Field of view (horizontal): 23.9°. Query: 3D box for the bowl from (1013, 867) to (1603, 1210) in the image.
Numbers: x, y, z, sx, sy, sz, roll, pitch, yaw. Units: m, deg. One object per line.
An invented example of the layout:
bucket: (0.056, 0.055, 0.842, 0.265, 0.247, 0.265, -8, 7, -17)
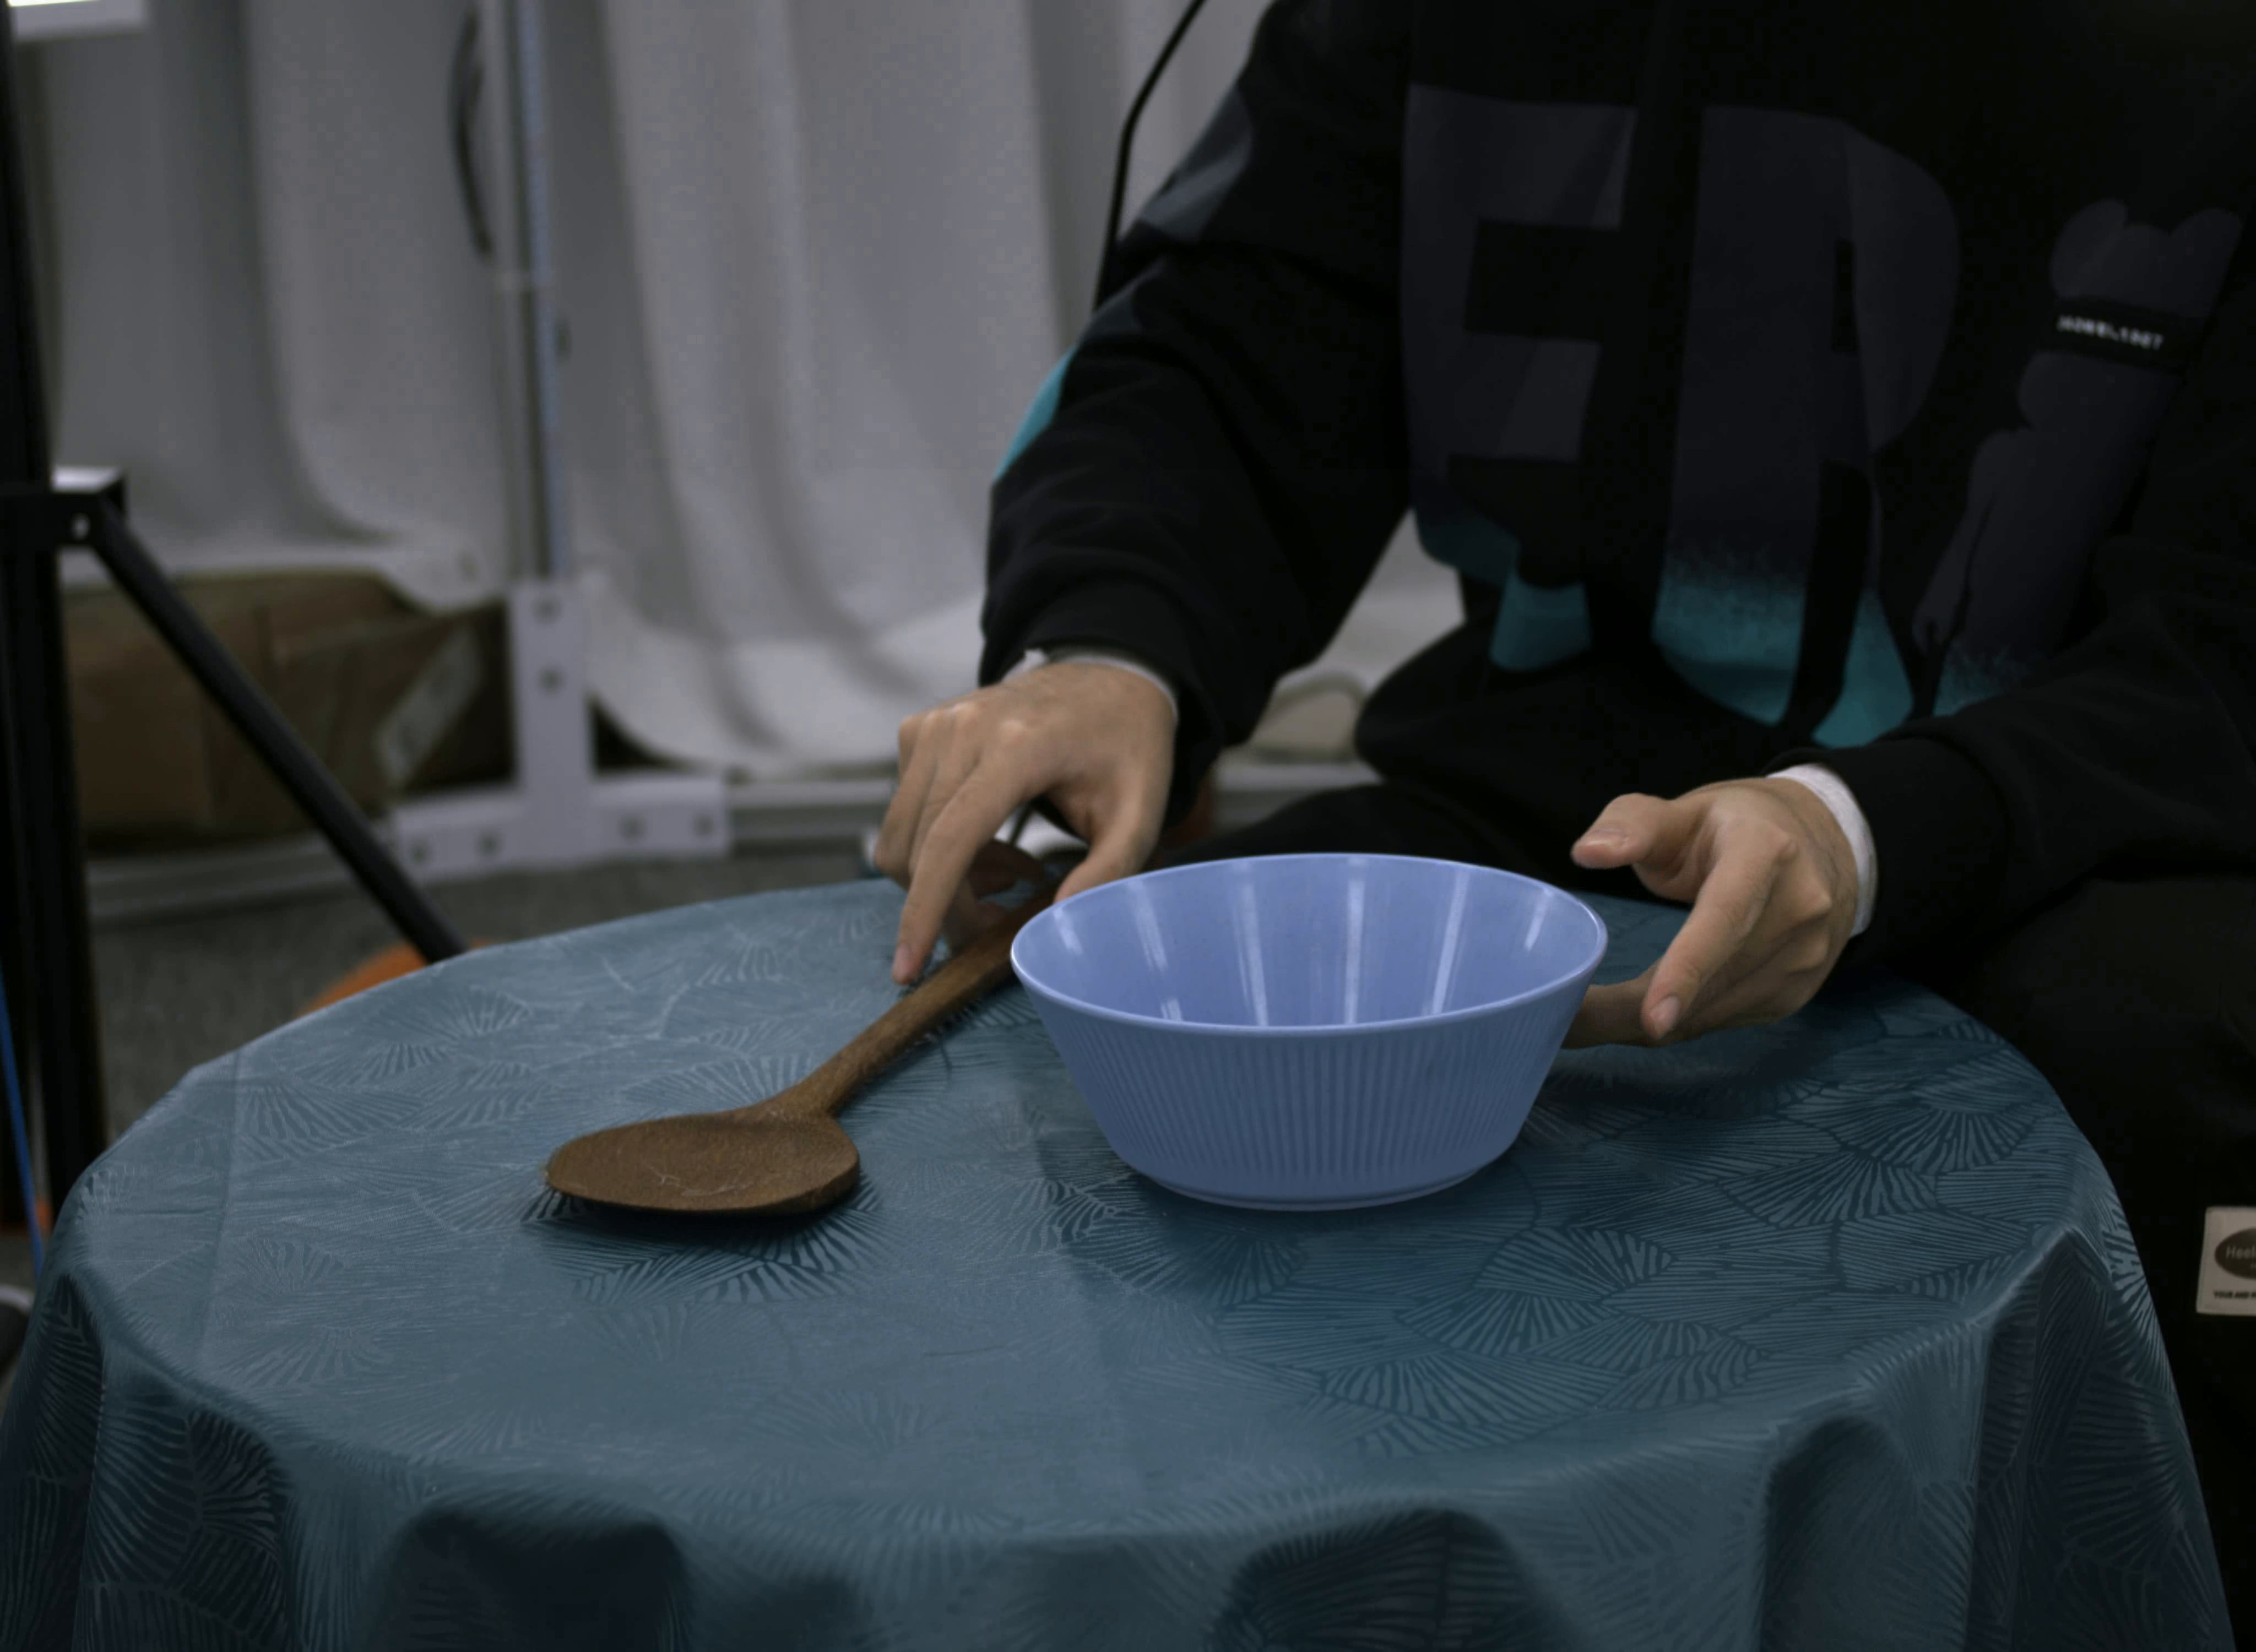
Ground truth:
bowl: (0.054, 0.065, 1.574, 0.175, 0.070, 0.177, -2, 14, -1)

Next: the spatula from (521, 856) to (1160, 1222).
spatula: (-0.069, 0.062, 1.703, 0.097, 0.016, 0.380, 5, 17, 22)
